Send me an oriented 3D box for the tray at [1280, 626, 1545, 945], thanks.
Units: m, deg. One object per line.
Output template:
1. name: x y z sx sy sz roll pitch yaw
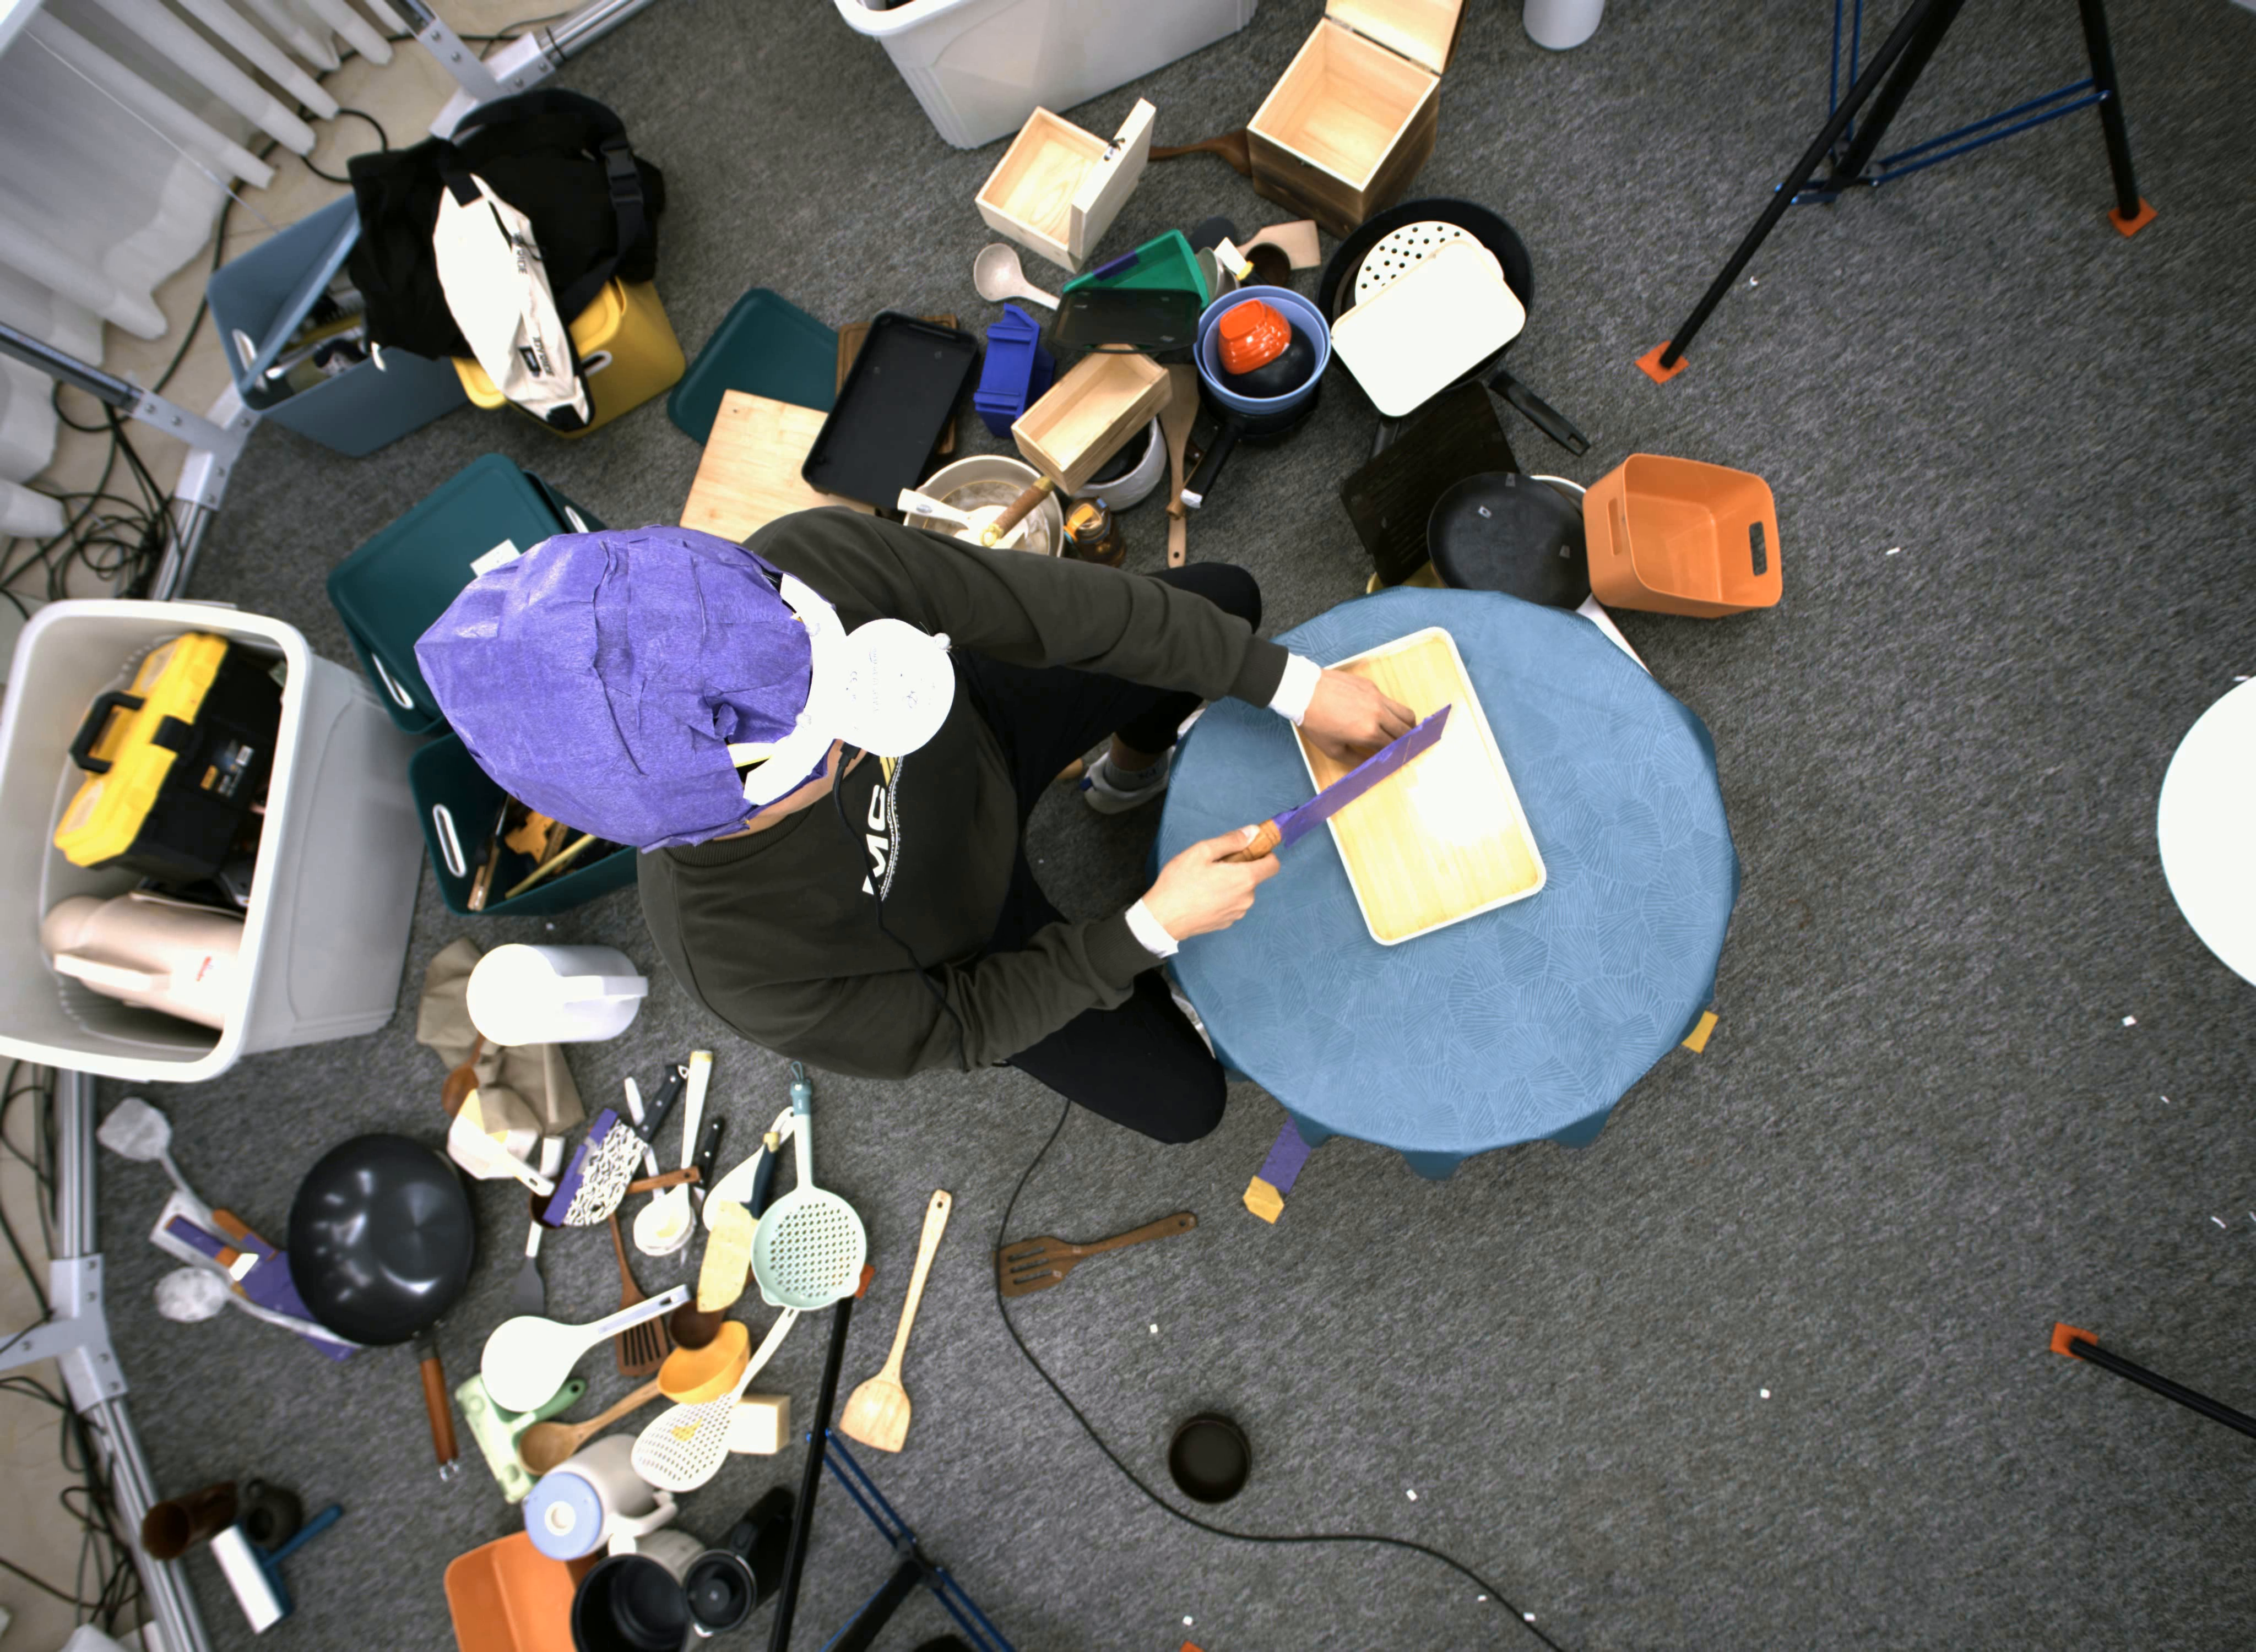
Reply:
1. tray: 0.296 -0.044 1.447 0.192 0.027 0.298 -21 83 8

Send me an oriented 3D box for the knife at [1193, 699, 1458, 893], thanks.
1. knife: 0.202 -0.021 1.379 0.314 0.105 0.032 -33 69 -5
